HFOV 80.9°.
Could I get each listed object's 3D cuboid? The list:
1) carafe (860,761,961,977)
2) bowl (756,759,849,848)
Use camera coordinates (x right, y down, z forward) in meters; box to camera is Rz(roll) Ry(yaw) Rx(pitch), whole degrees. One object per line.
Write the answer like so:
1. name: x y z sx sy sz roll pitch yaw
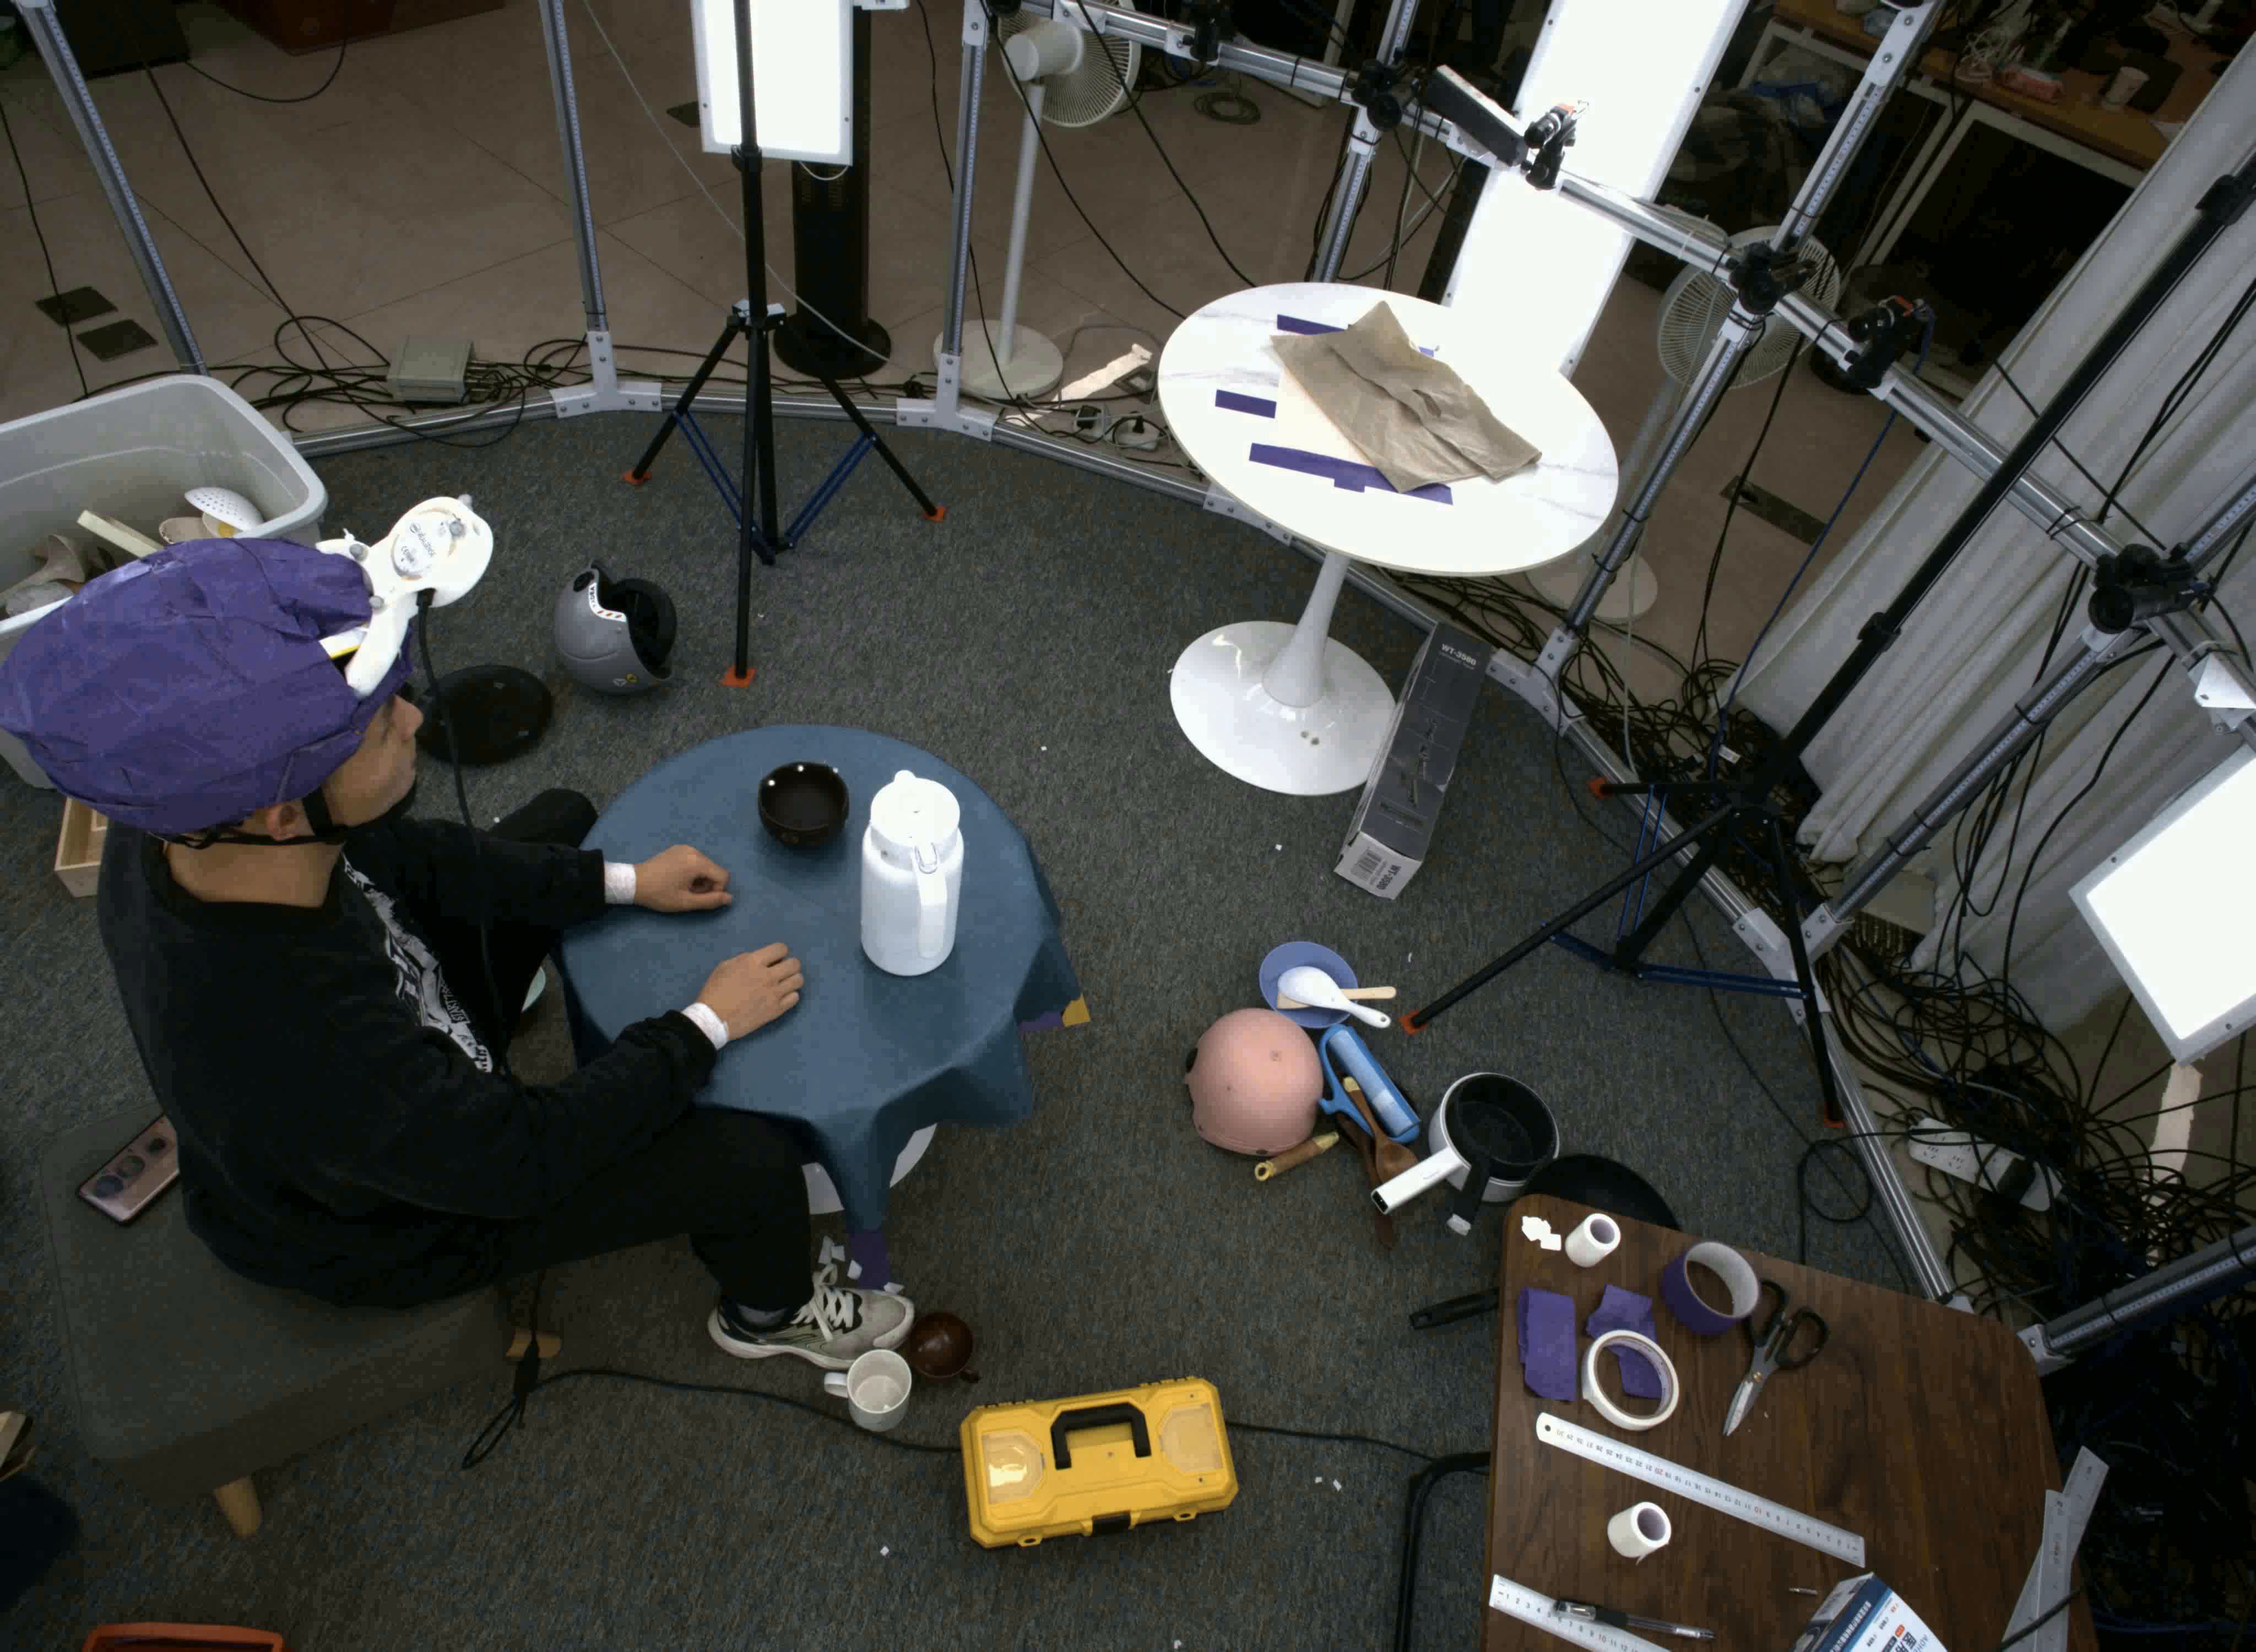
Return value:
1. carafe: -0.253 0.073 1.539 0.124 0.274 0.168 -10 55 -21
2. bowl: -0.424 -0.022 1.690 0.118 0.071 0.116 7 53 -8
